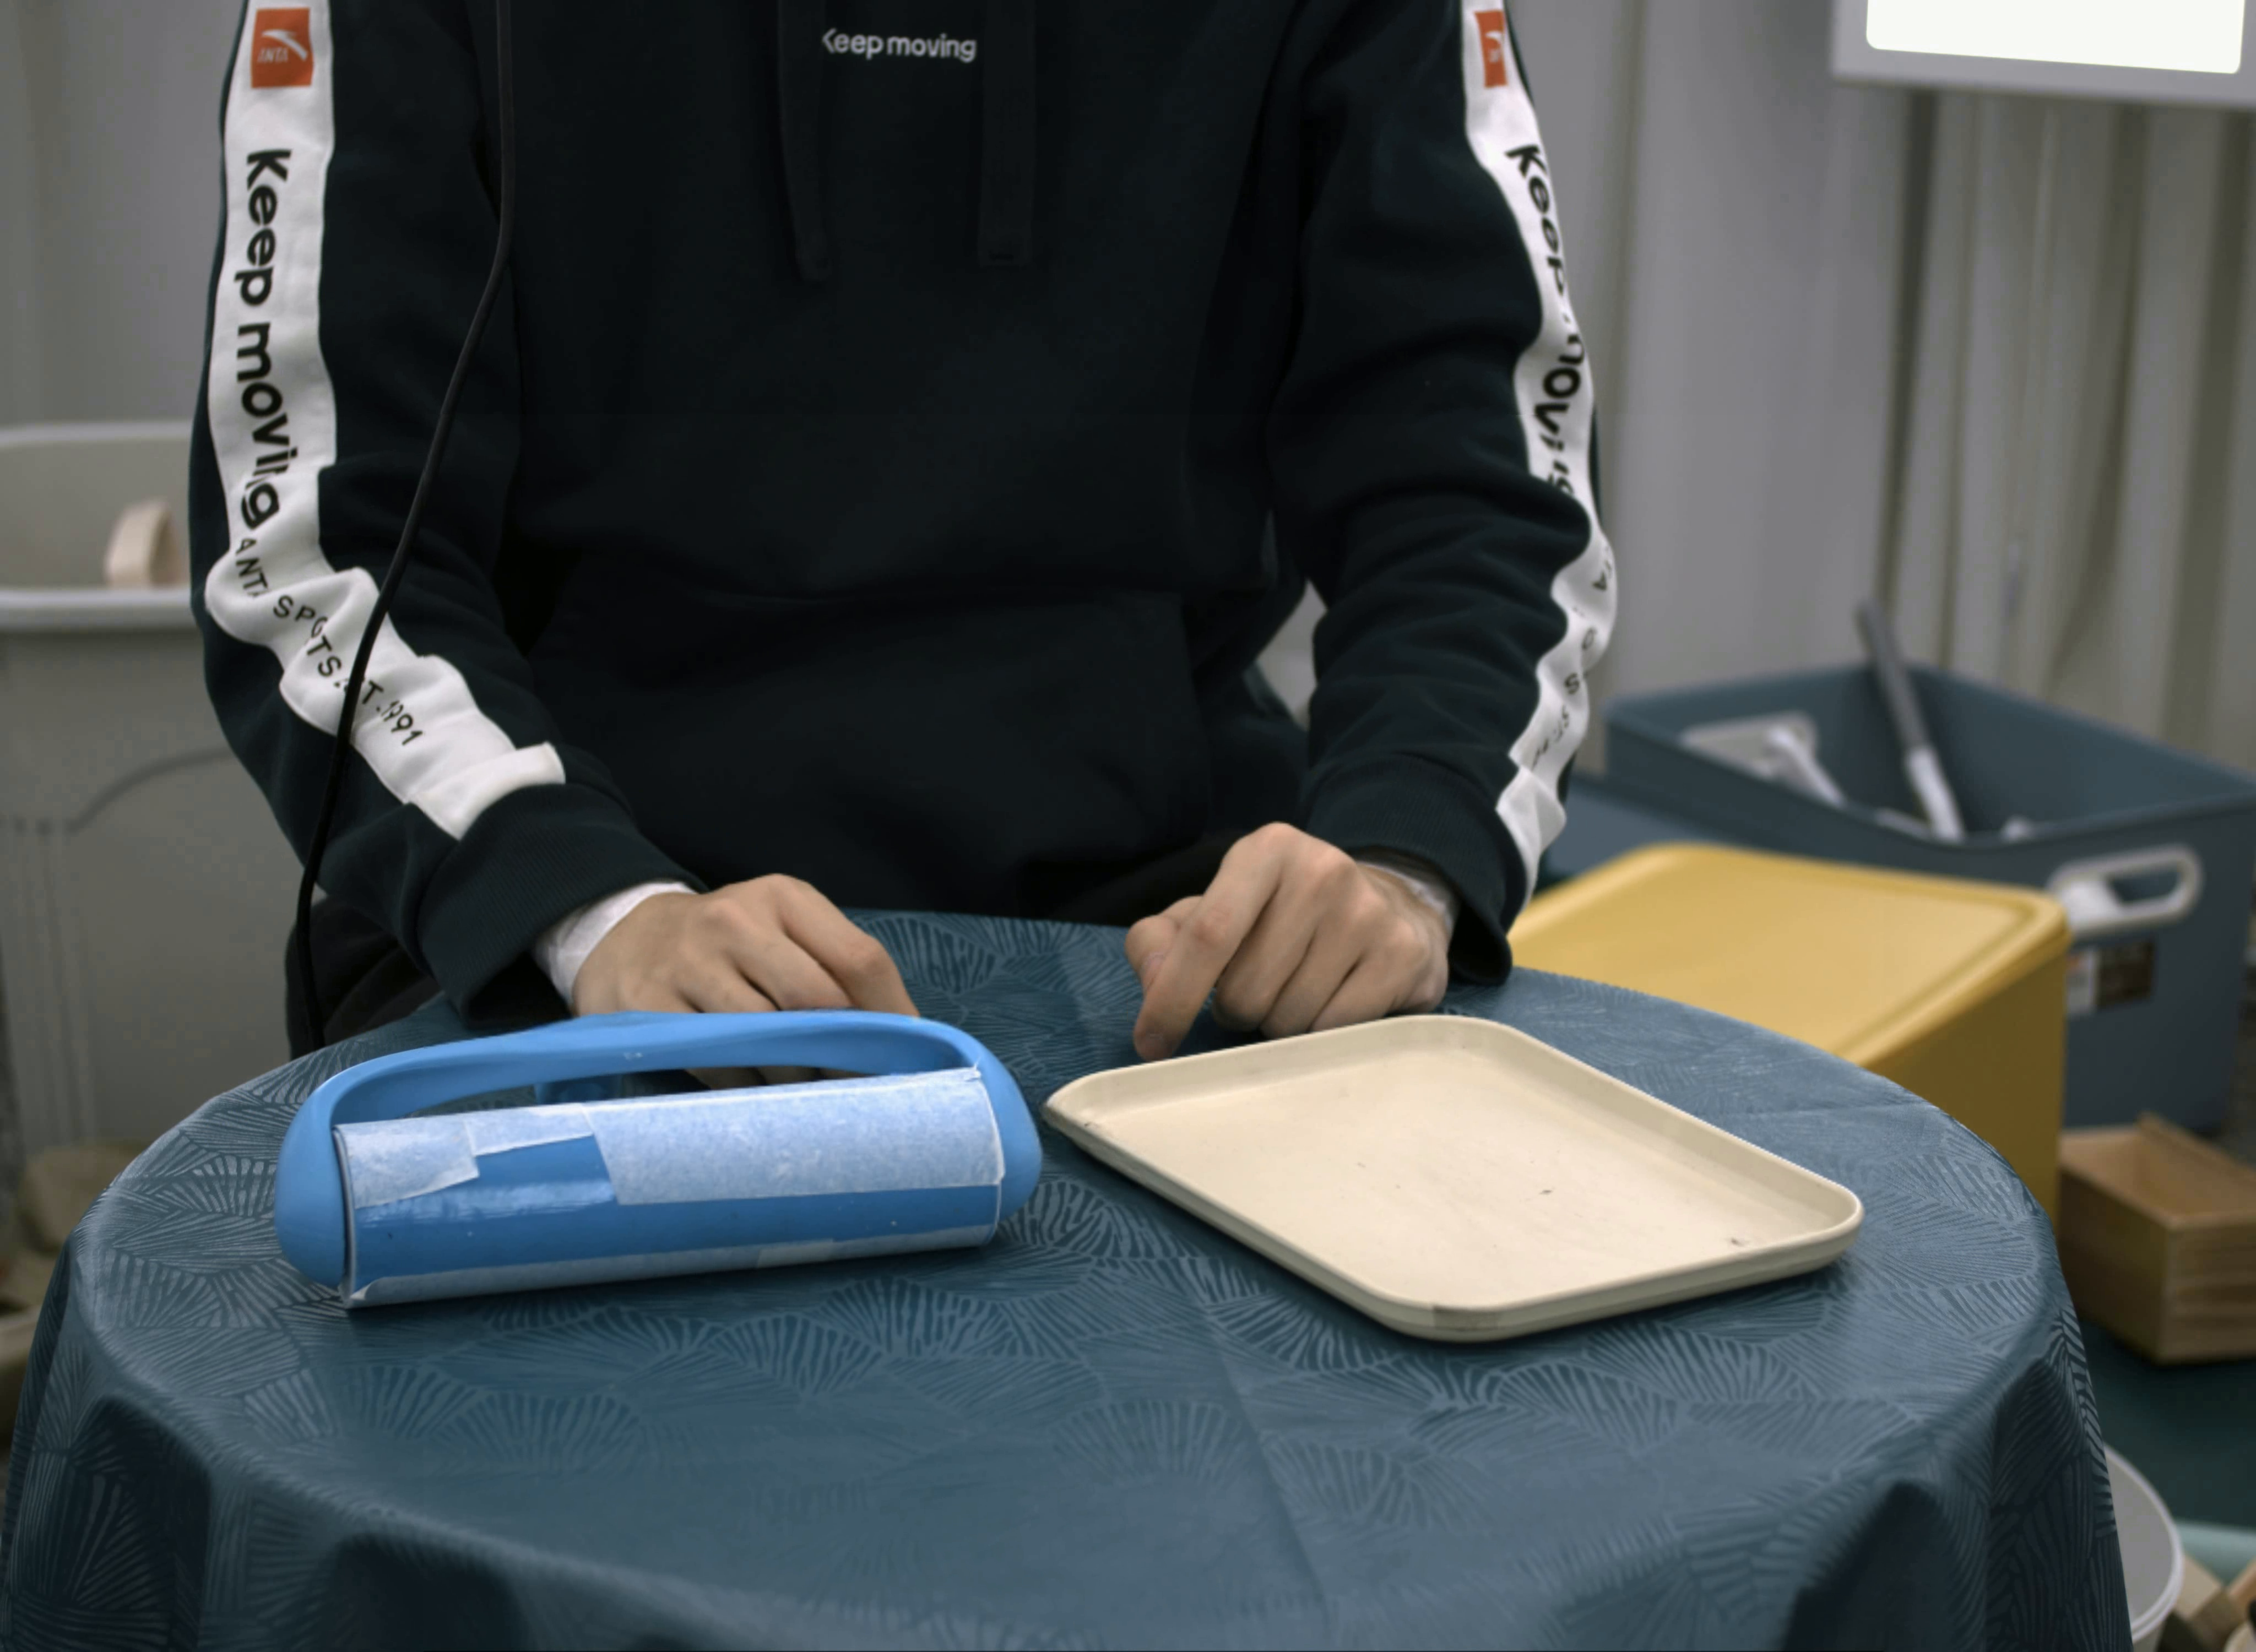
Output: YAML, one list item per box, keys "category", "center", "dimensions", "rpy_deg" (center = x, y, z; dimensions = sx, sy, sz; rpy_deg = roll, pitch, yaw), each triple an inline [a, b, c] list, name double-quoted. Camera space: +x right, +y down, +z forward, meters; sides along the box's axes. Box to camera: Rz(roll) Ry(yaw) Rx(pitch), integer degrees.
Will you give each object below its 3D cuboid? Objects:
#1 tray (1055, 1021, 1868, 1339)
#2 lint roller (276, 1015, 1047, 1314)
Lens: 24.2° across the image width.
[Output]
- category: "tray"
  center: [0.098, 0.107, 1.610]
  dimensions: [0.172, 0.017, 0.236]
  rpy_deg: [-8, 17, -29]
- category: "lint roller"
  center: [-0.154, 0.089, 1.592]
  dimensions: [0.229, 0.068, 0.178]
  rpy_deg: [-7, 18, -19]
